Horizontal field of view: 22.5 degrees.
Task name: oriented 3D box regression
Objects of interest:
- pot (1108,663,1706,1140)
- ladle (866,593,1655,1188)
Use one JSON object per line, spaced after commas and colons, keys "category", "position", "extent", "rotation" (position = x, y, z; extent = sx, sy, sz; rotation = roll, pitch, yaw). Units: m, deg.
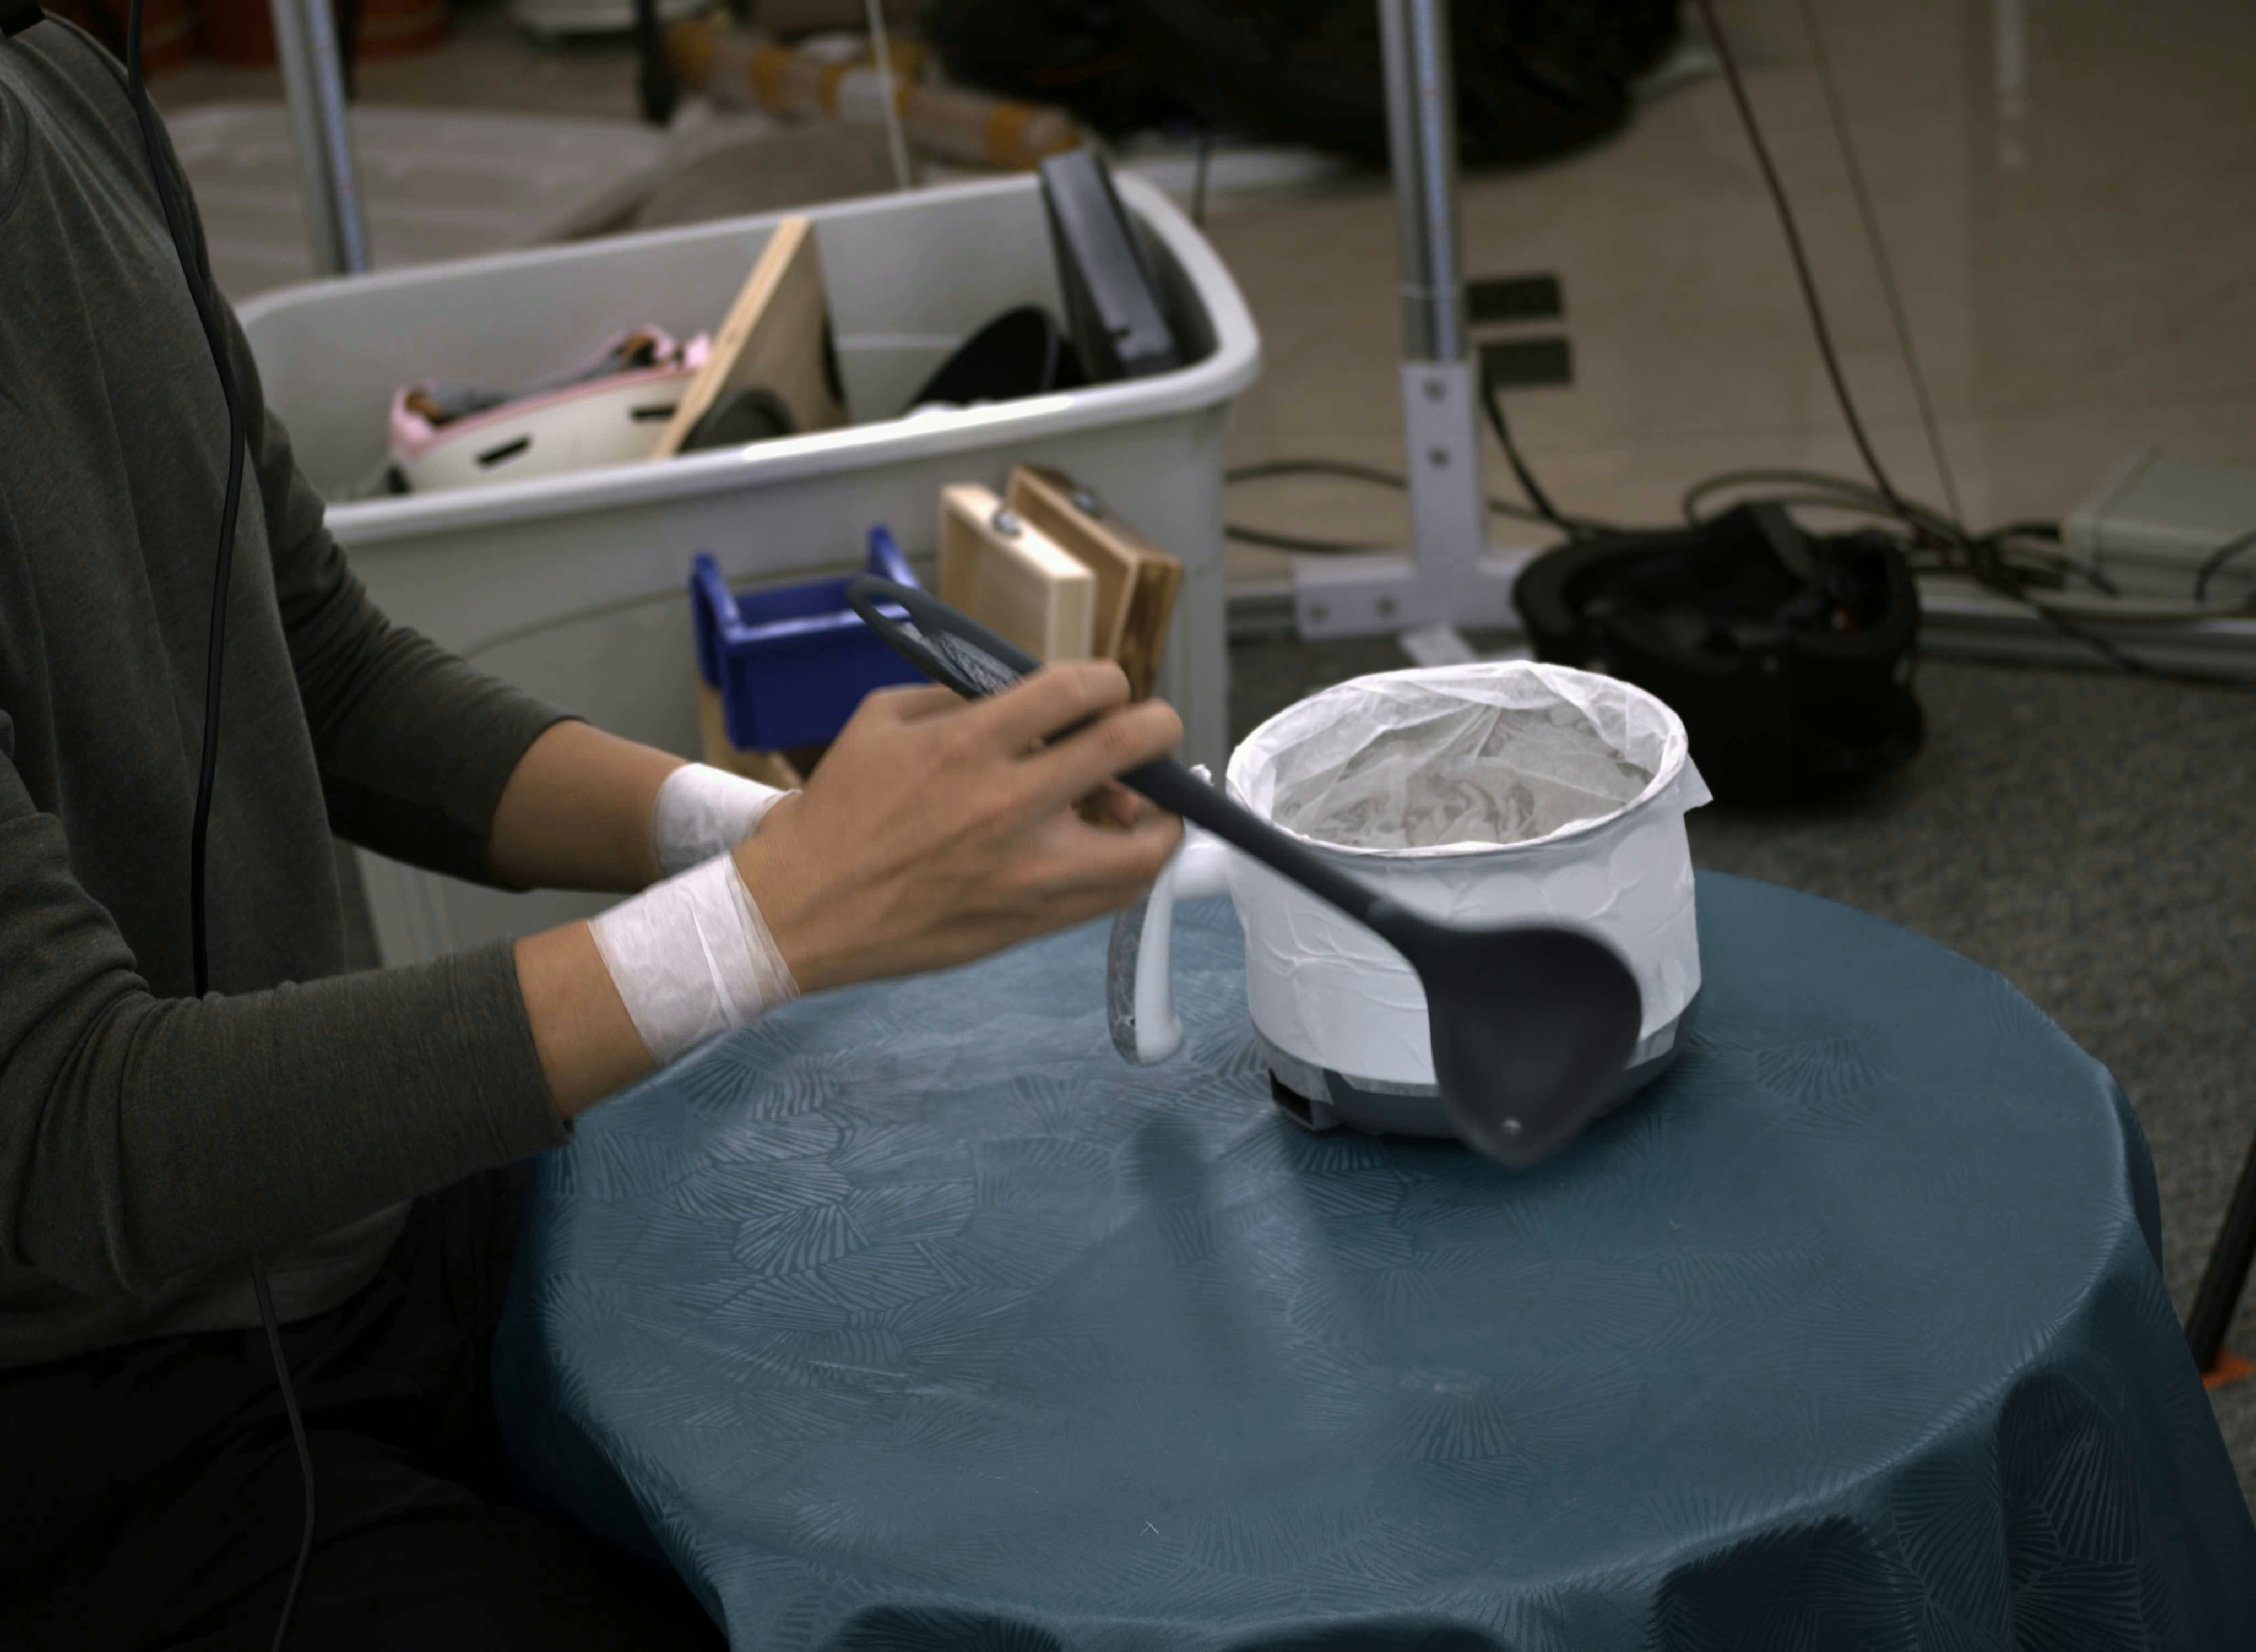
{"category": "pot", "position": [0.105, 0.034, 2.189], "extent": [0.233, 0.139, 0.176], "rotation": [-6, 25, 2]}
{"category": "ladle", "position": [0.042, 0.015, 1.908], "extent": [0.316, 0.087, 0.063], "rotation": [33, 14, -20]}
